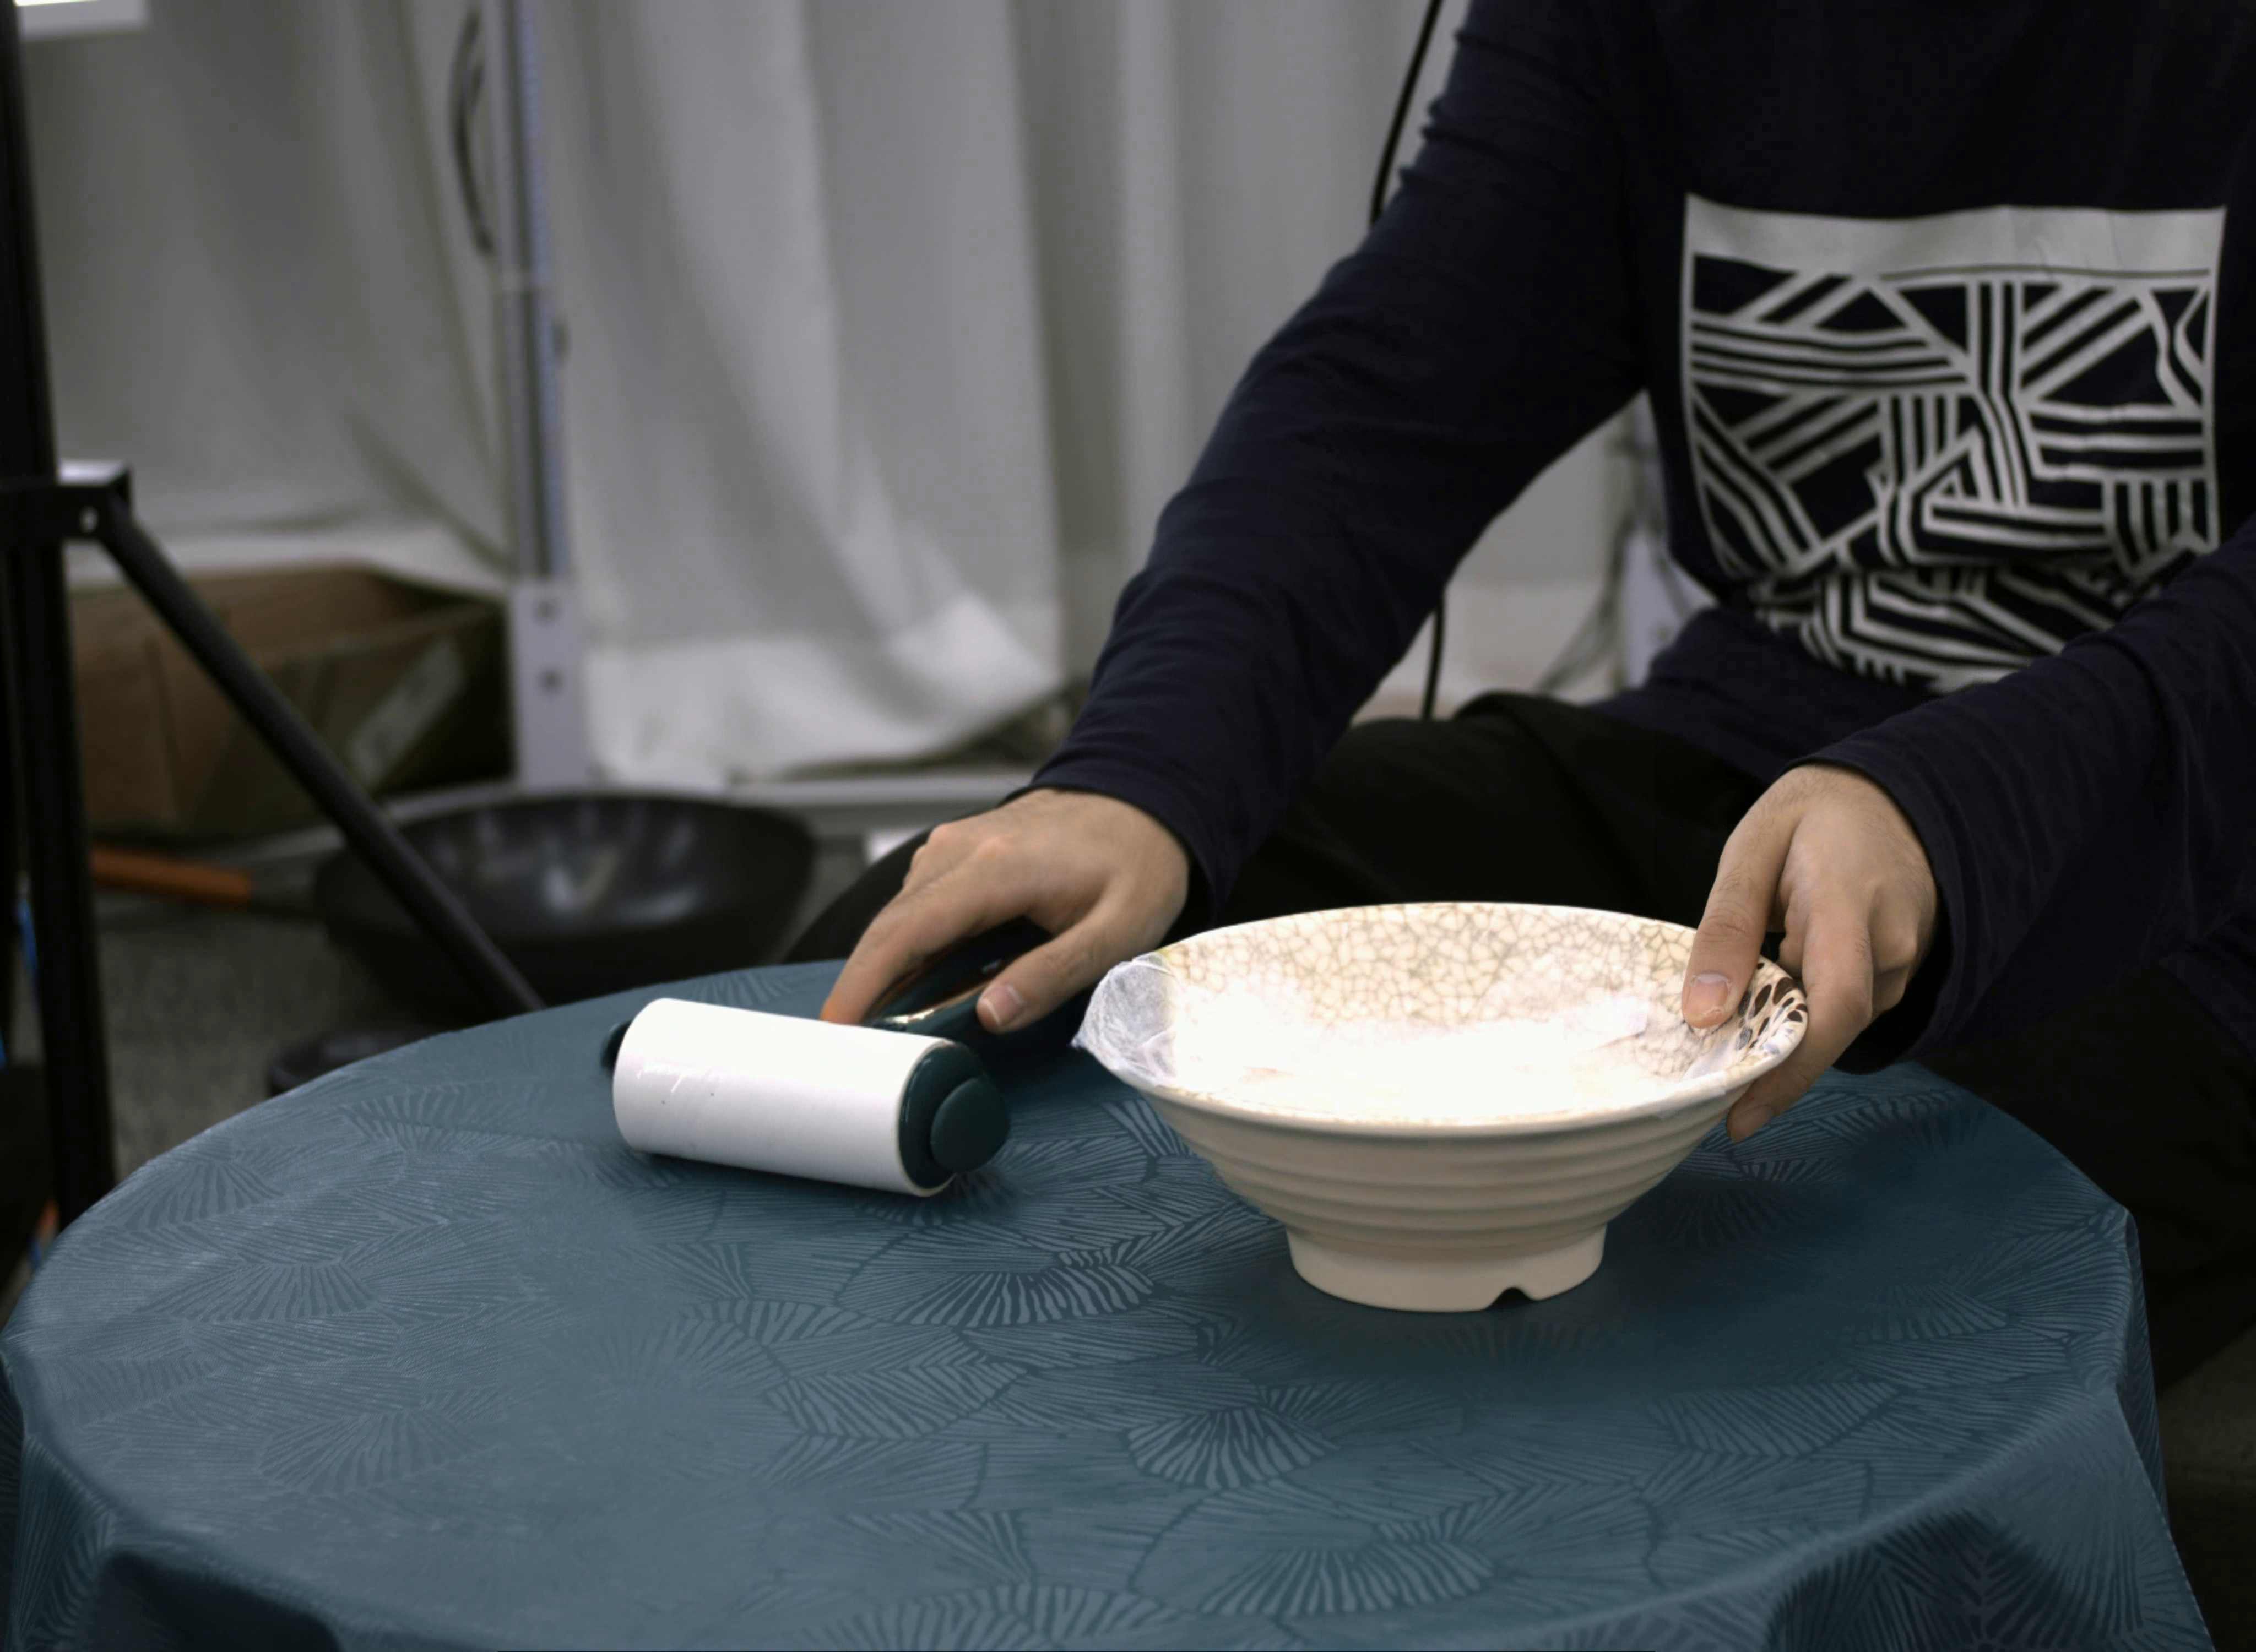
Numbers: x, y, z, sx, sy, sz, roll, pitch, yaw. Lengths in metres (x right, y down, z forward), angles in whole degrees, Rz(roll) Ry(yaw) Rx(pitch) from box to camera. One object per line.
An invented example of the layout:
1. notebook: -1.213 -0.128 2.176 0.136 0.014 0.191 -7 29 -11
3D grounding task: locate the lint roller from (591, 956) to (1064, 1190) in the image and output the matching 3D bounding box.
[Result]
1. lint roller: -0.069 0.056 1.641 0.136 0.048 0.177 6 24 29

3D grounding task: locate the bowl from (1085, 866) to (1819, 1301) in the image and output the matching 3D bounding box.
1. bowl: 0.089 0.080 1.480 0.203 0.078 0.205 0 18 -1
